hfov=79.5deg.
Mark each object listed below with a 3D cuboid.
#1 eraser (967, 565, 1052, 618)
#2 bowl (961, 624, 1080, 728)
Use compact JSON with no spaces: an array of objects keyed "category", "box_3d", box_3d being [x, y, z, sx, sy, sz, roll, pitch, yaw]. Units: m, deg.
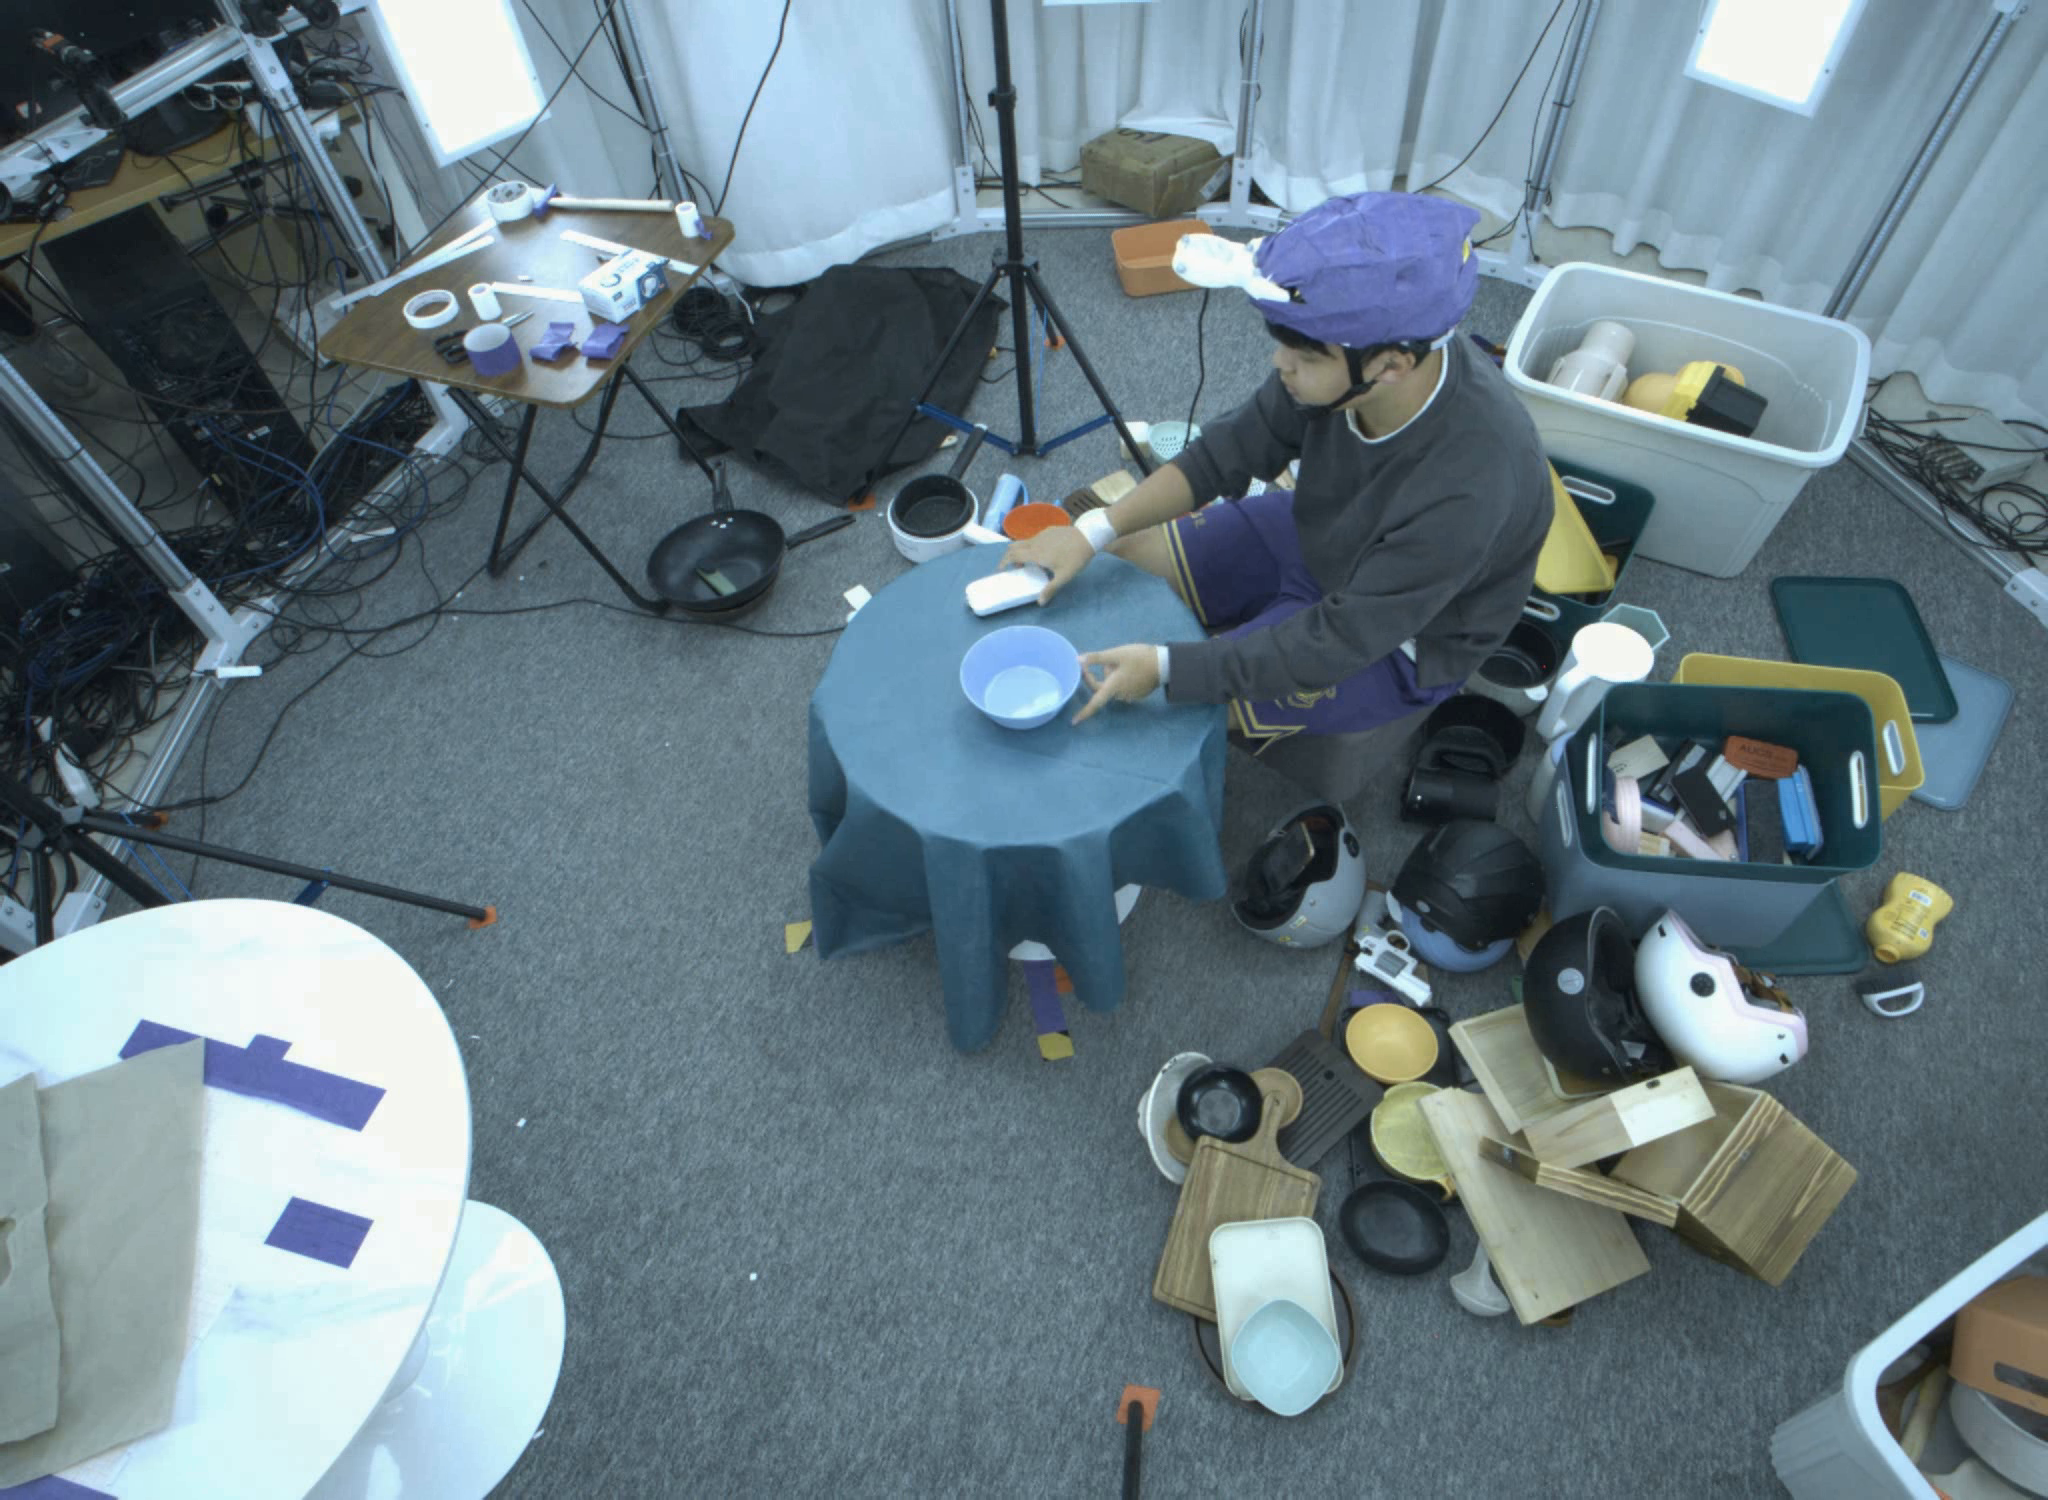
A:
[{"category":"eraser","box_3d":[-0.023,-0.252,1.950,0.132,0.035,0.062,-17,57,-7]},{"category":"bowl","box_3d":[-0.004,-0.099,1.816,0.176,0.071,0.174,-1,55,2]}]
